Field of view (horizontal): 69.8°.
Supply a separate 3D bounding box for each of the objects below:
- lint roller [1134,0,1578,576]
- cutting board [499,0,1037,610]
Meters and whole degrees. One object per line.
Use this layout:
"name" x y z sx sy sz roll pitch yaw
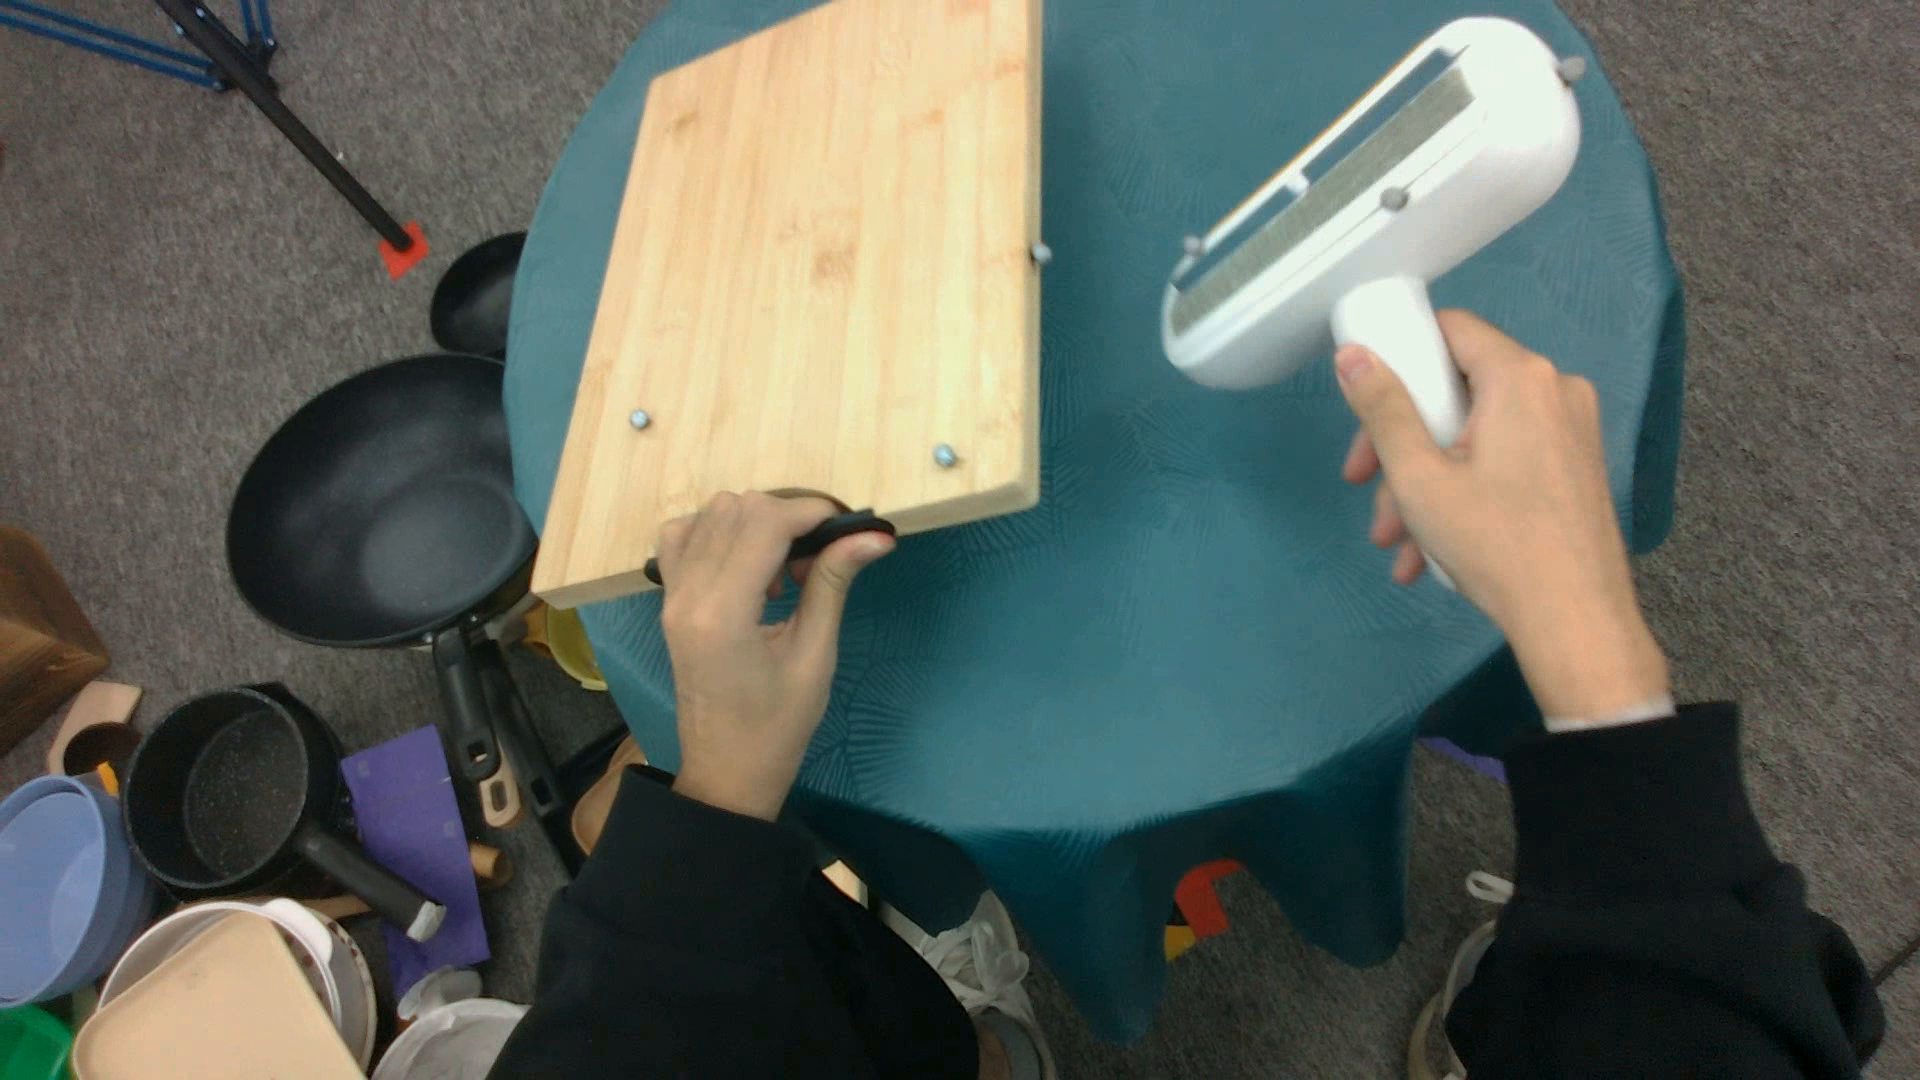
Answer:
"lint roller" 0.158 -0.081 0.535 0.192 0.074 0.193 -23 64 43
"cutting board" -0.082 -0.137 0.666 0.250 0.023 0.350 -11 55 19
